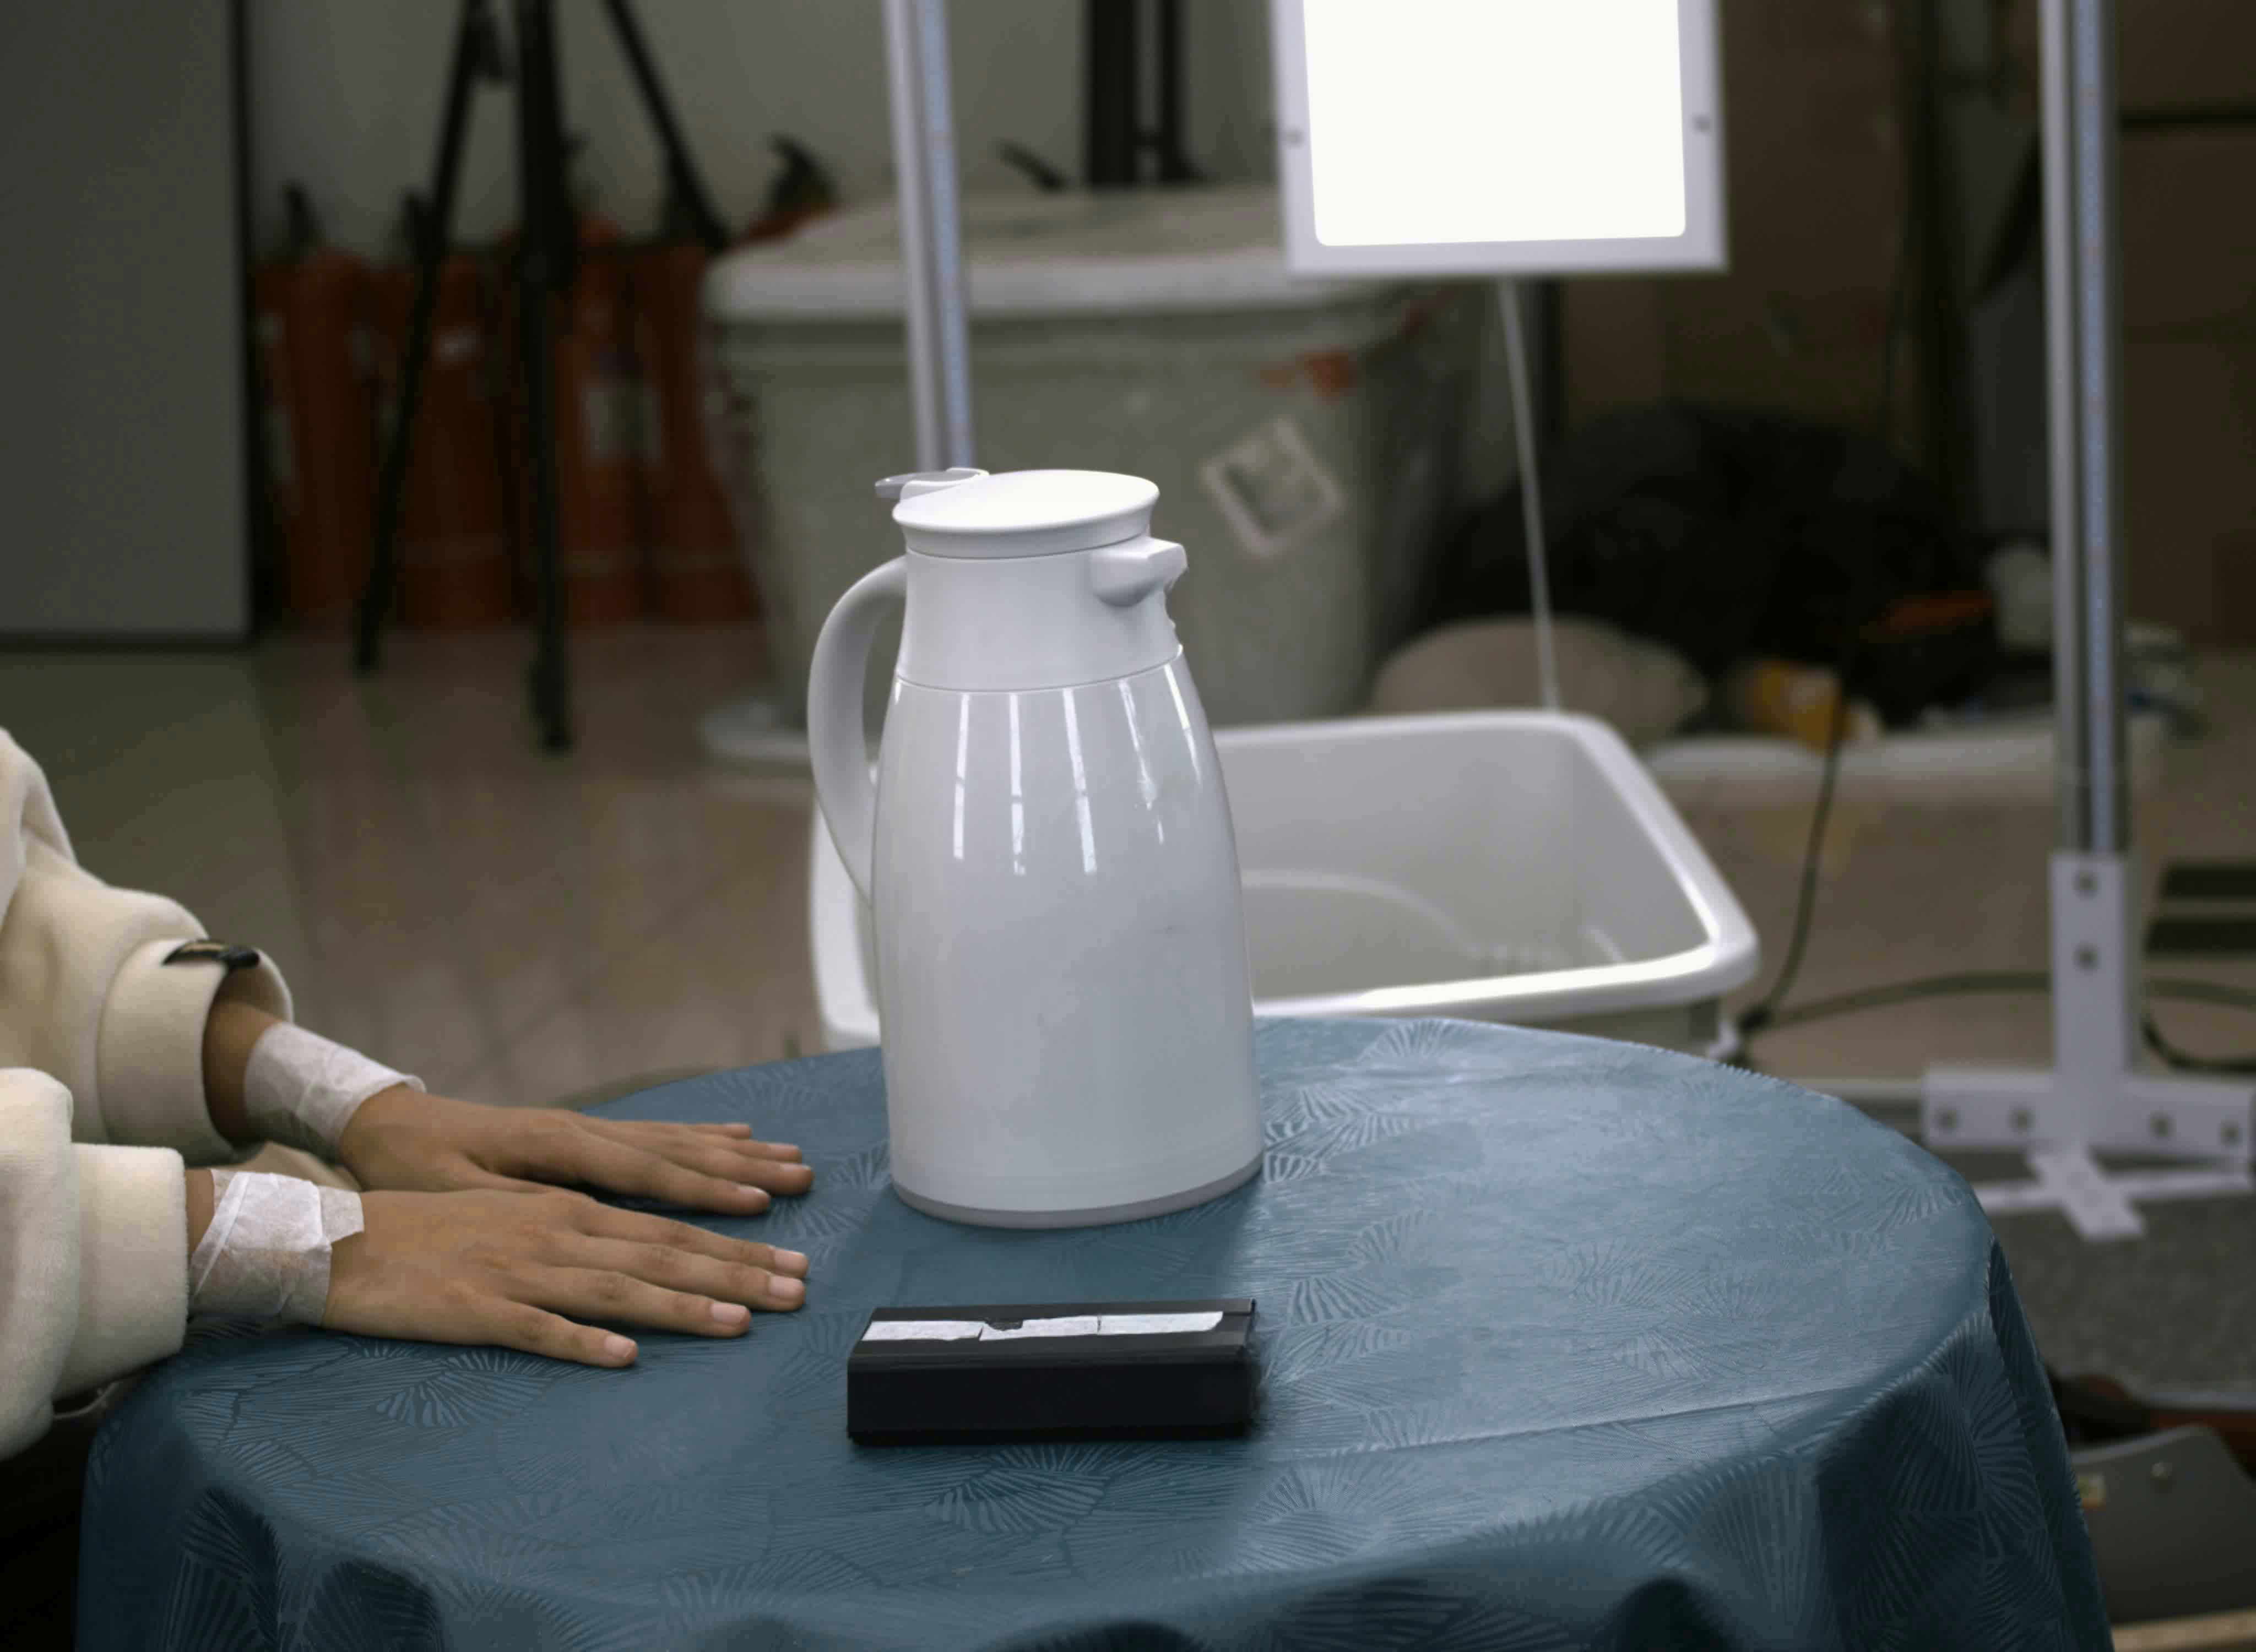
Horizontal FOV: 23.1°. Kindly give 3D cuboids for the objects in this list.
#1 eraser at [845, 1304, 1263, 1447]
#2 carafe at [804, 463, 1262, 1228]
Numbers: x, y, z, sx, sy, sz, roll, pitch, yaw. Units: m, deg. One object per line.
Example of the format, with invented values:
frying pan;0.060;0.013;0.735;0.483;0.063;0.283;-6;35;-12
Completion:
eraser;-0.021;0.167;1.680;0.126;0.030;0.053;-3;12;10
carafe;-0.043;-0.001;1.910;0.171;0.249;0.129;6;18;40
